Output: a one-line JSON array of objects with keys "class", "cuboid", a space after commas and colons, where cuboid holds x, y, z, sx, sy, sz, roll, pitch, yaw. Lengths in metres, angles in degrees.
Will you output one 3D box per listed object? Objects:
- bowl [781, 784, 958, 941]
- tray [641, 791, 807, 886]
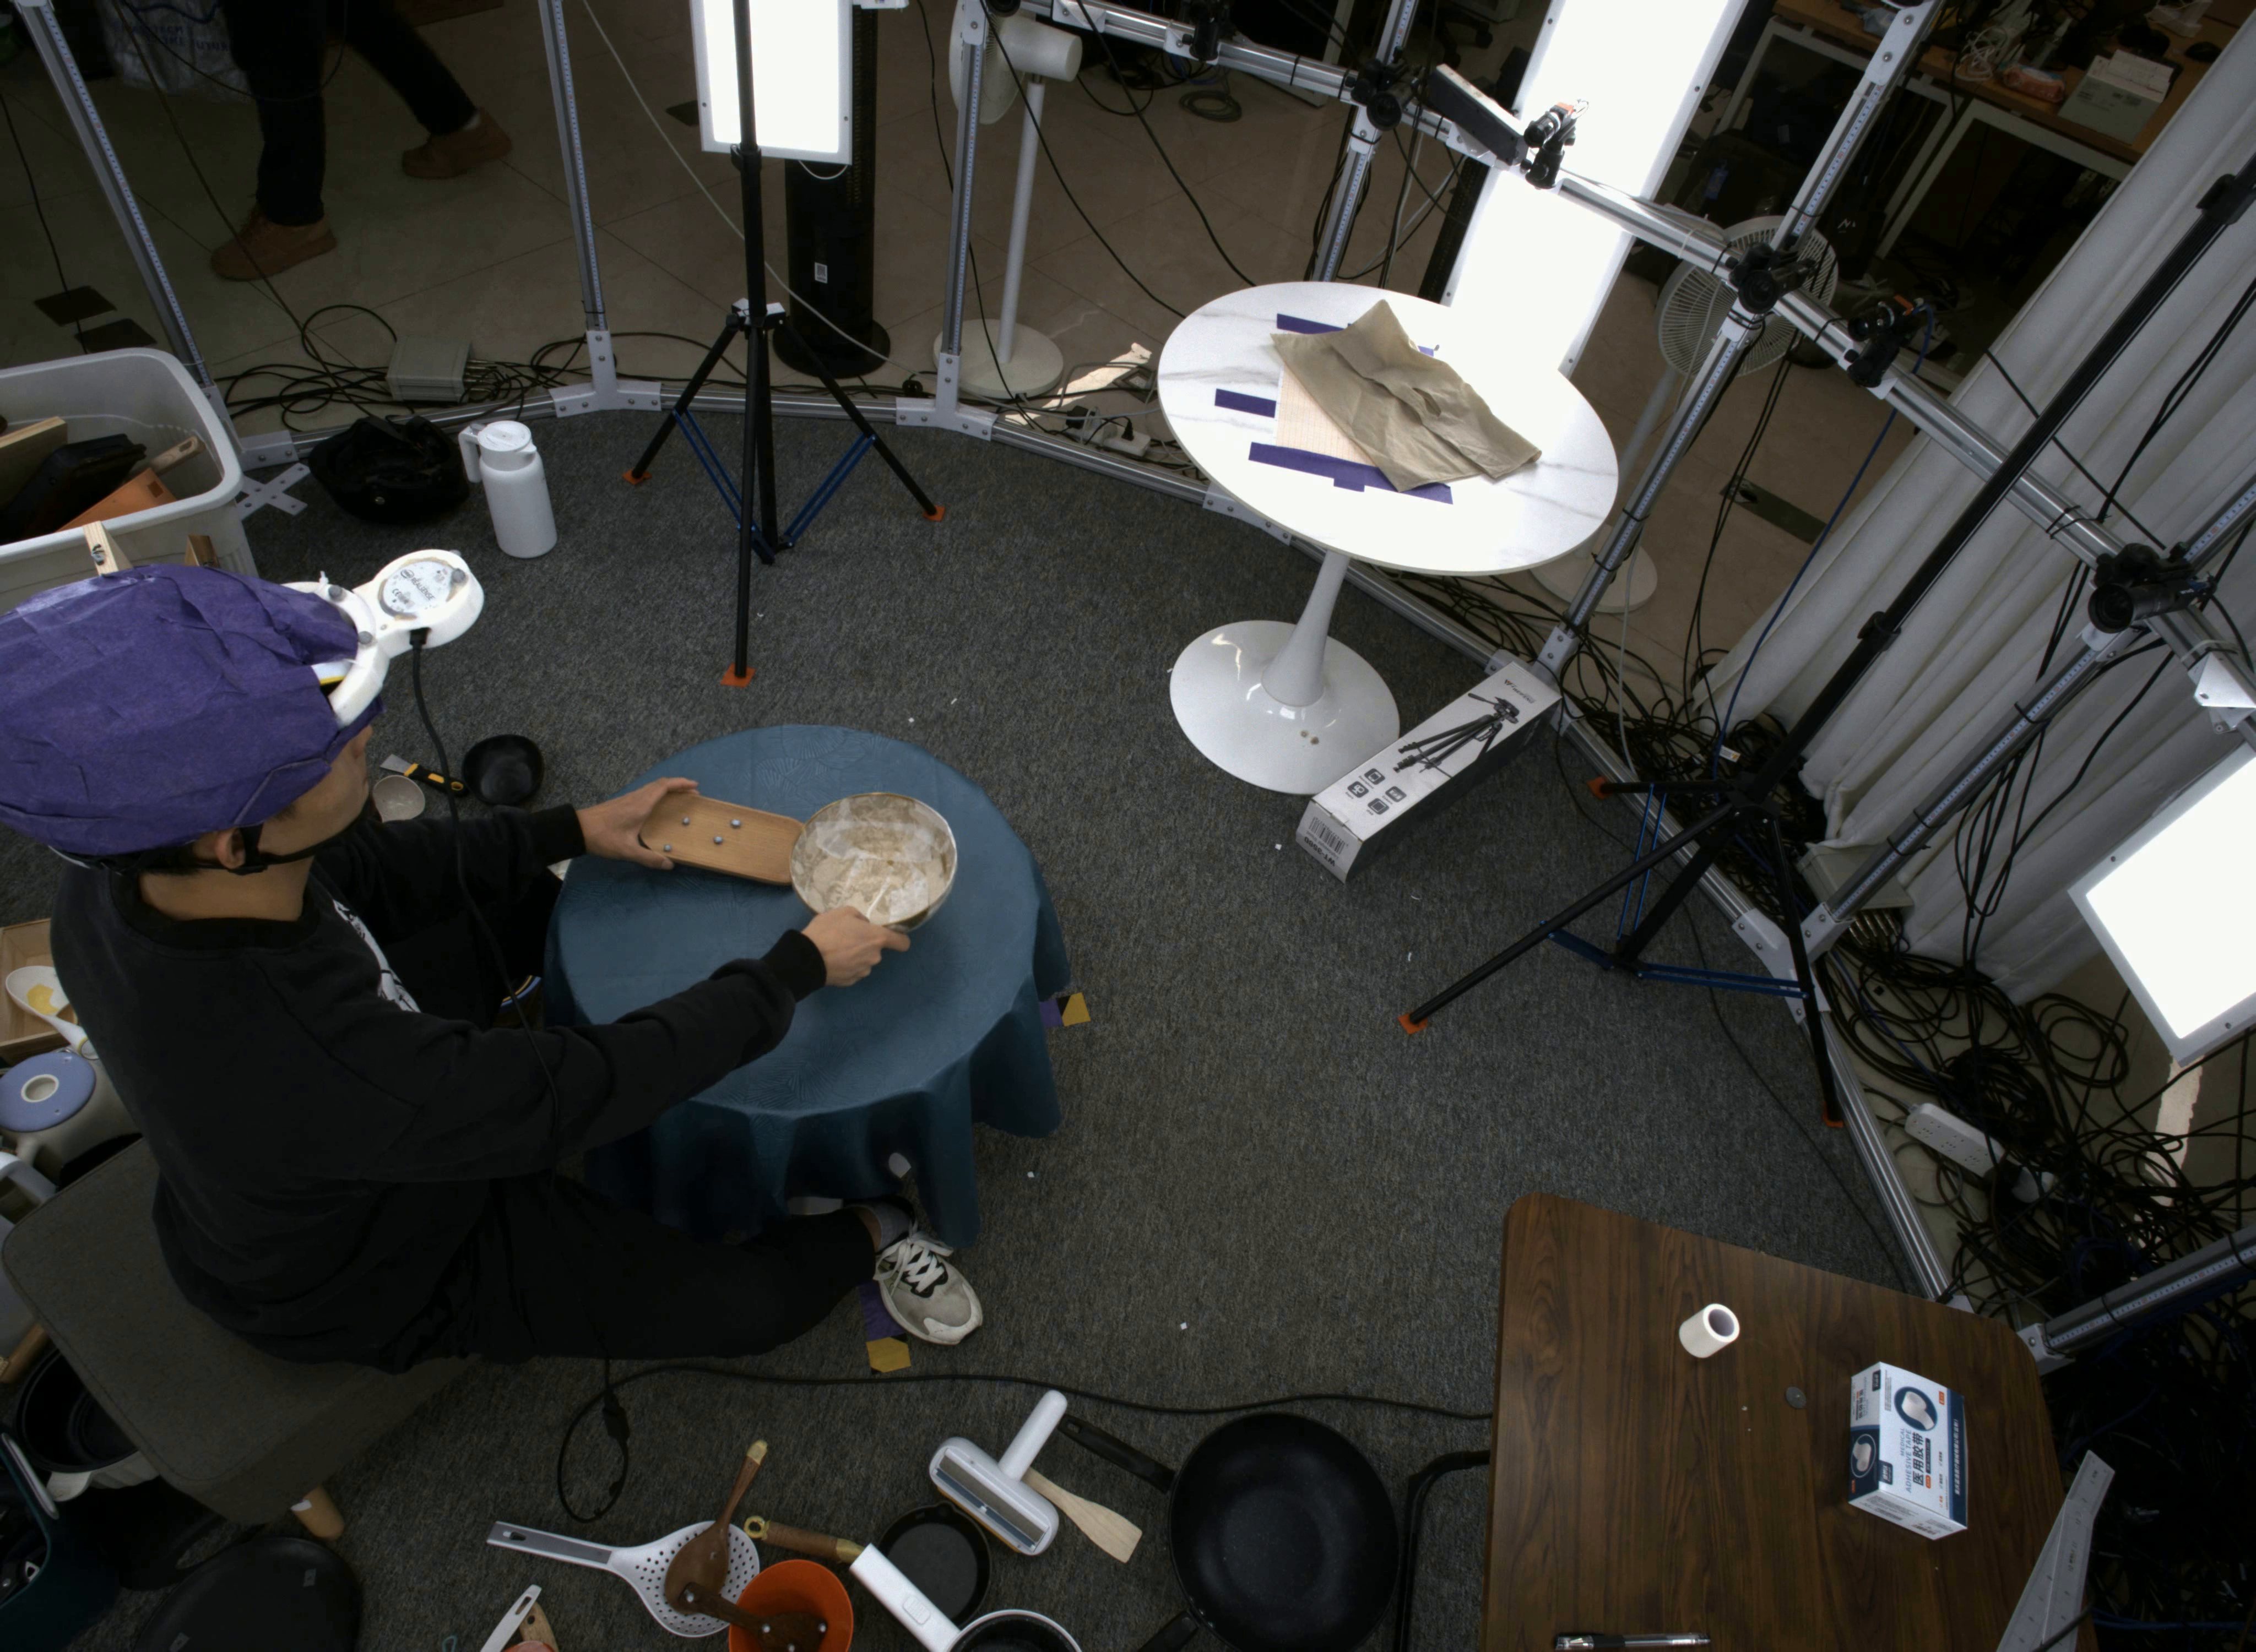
[{"class": "bowl", "cuboid": [-0.316, 0.060, 1.606, 0.213, 0.097, 0.211, 4, 56, -5]}, {"class": "tray", "cuboid": [-0.508, 0.015, 1.656, 0.234, 0.020, 0.100, 15, 57, -22]}]
